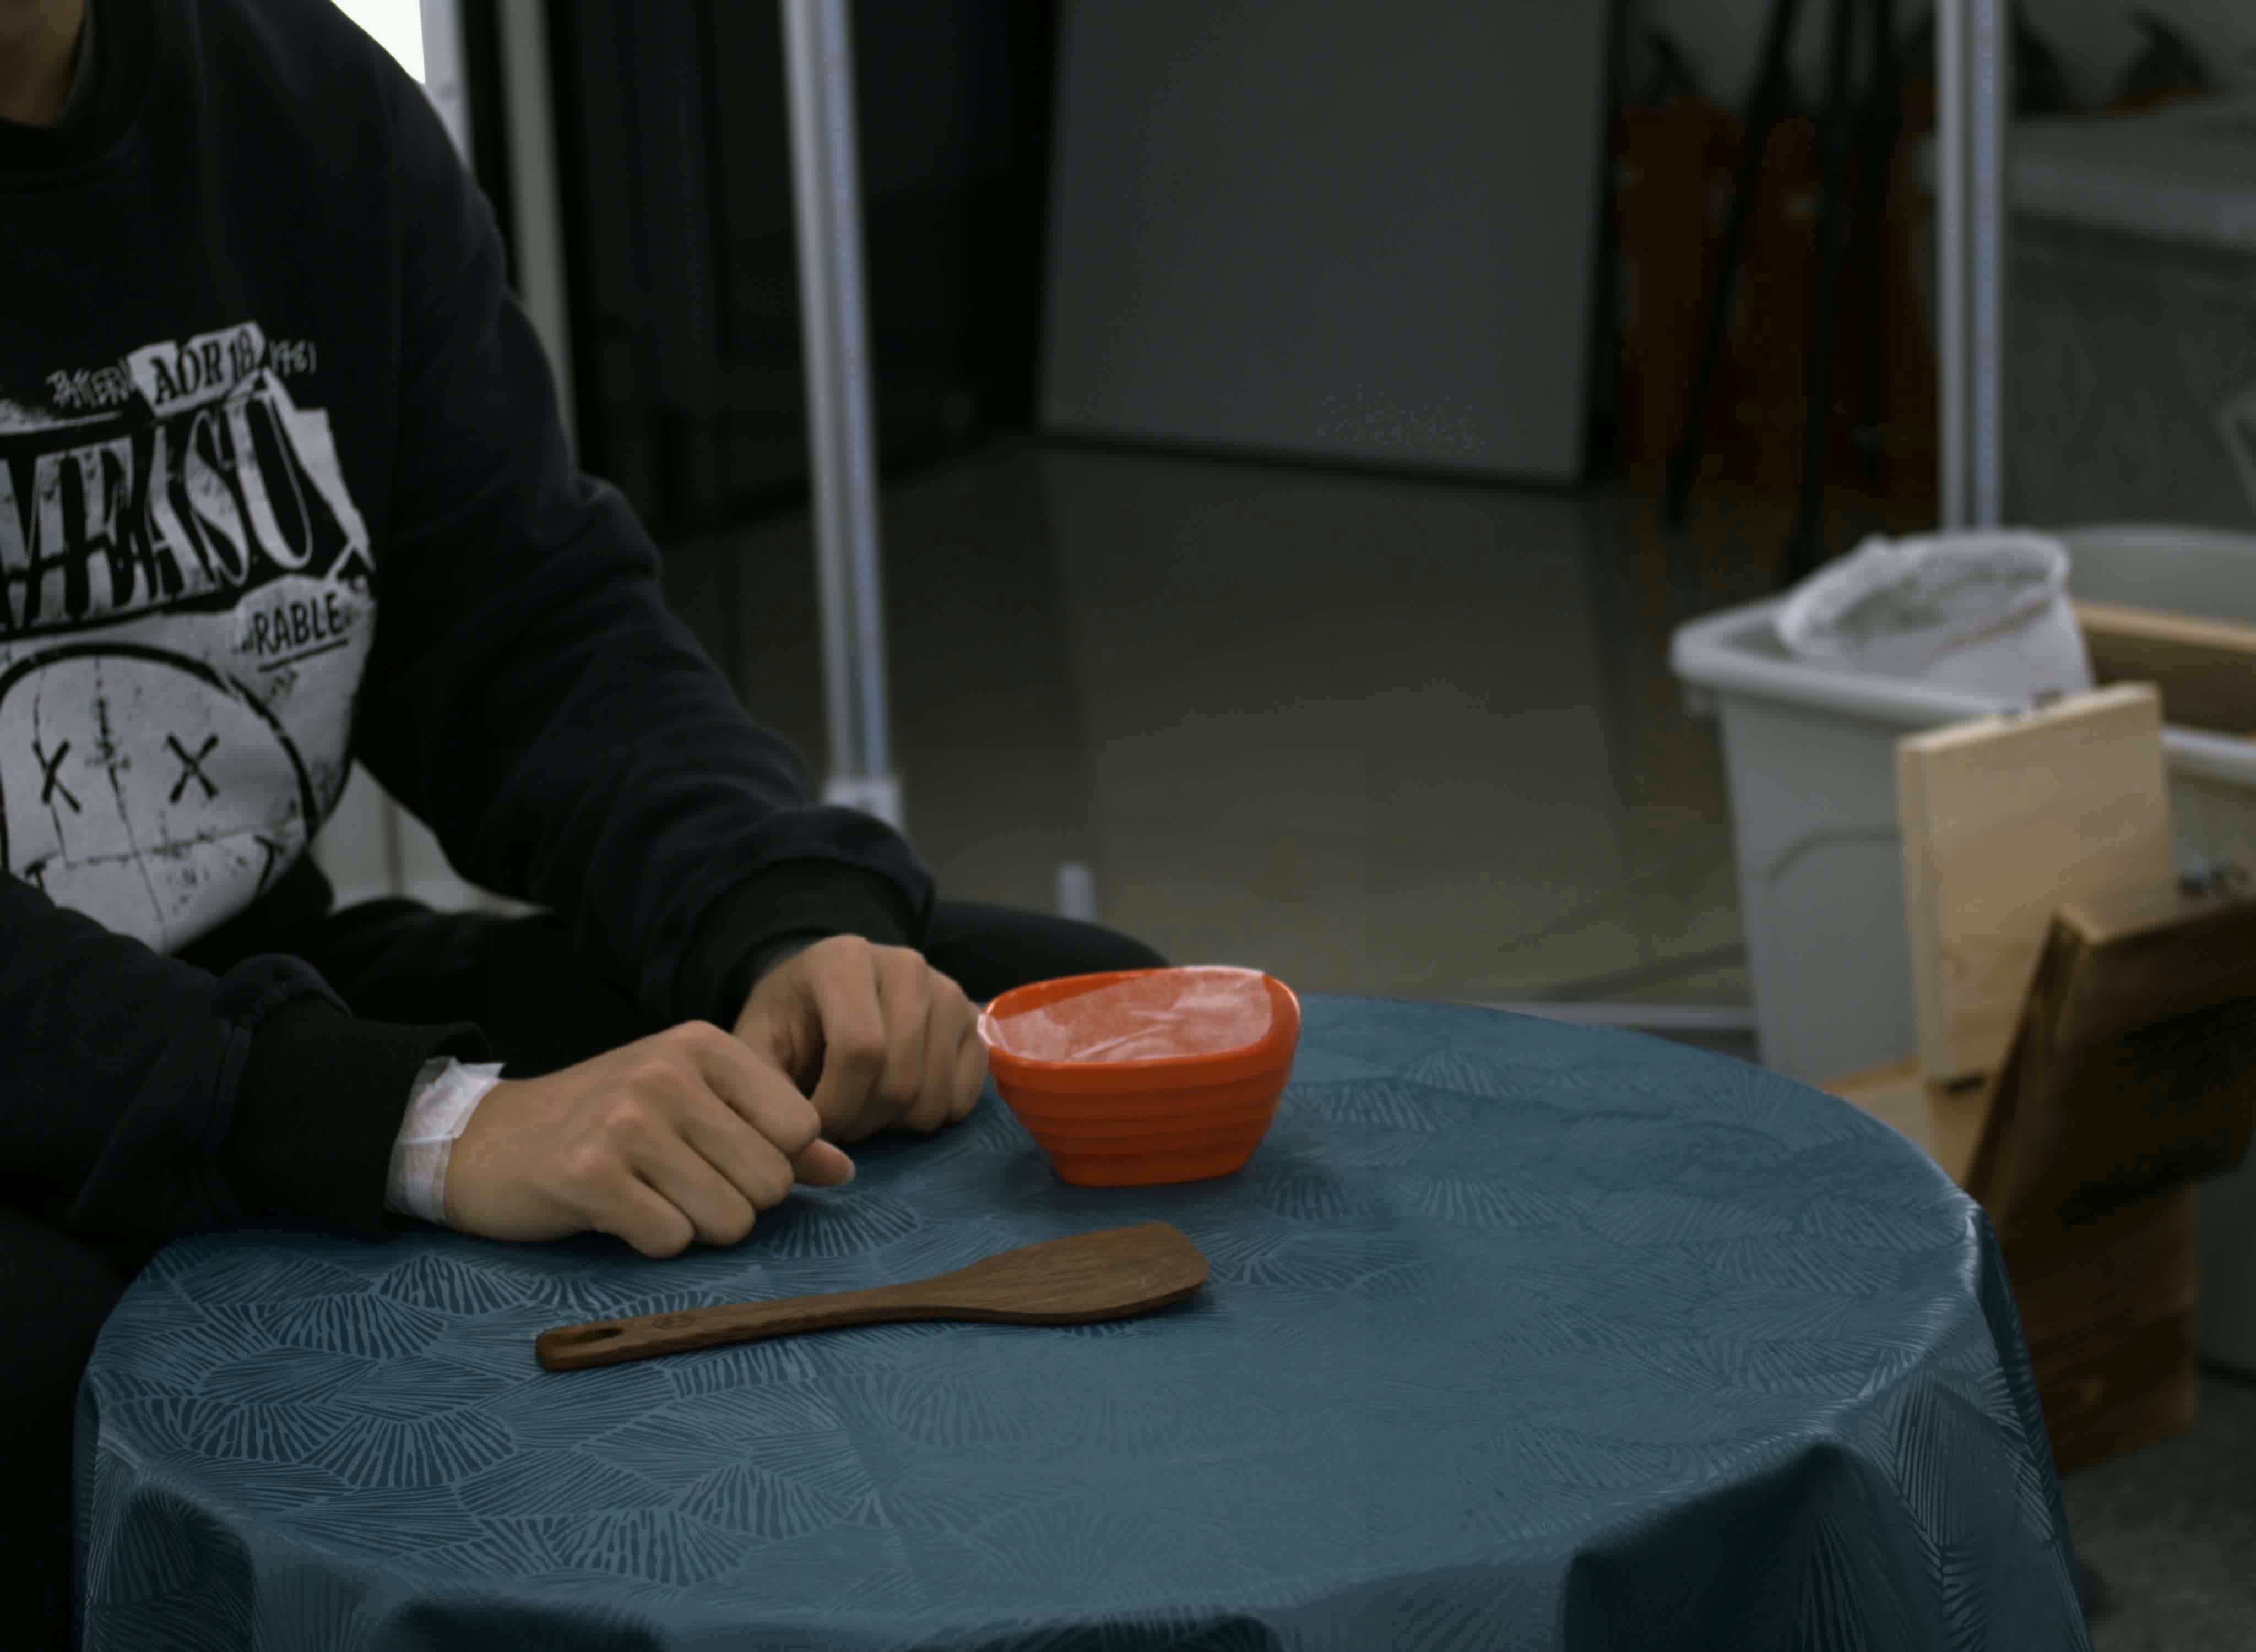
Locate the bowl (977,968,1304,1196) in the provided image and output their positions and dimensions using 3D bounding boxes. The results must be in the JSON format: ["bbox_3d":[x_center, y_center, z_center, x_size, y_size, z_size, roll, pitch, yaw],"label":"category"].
[{"bbox_3d":[0.005,0.088,1.802,0.117,0.052,0.119,-4,15,0],"label":"bowl"}]

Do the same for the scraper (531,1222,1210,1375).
[{"bbox_3d":[-0.079,0.149,1.665,0.207,0.011,0.076,-7,13,-10],"label":"scraper"}]
